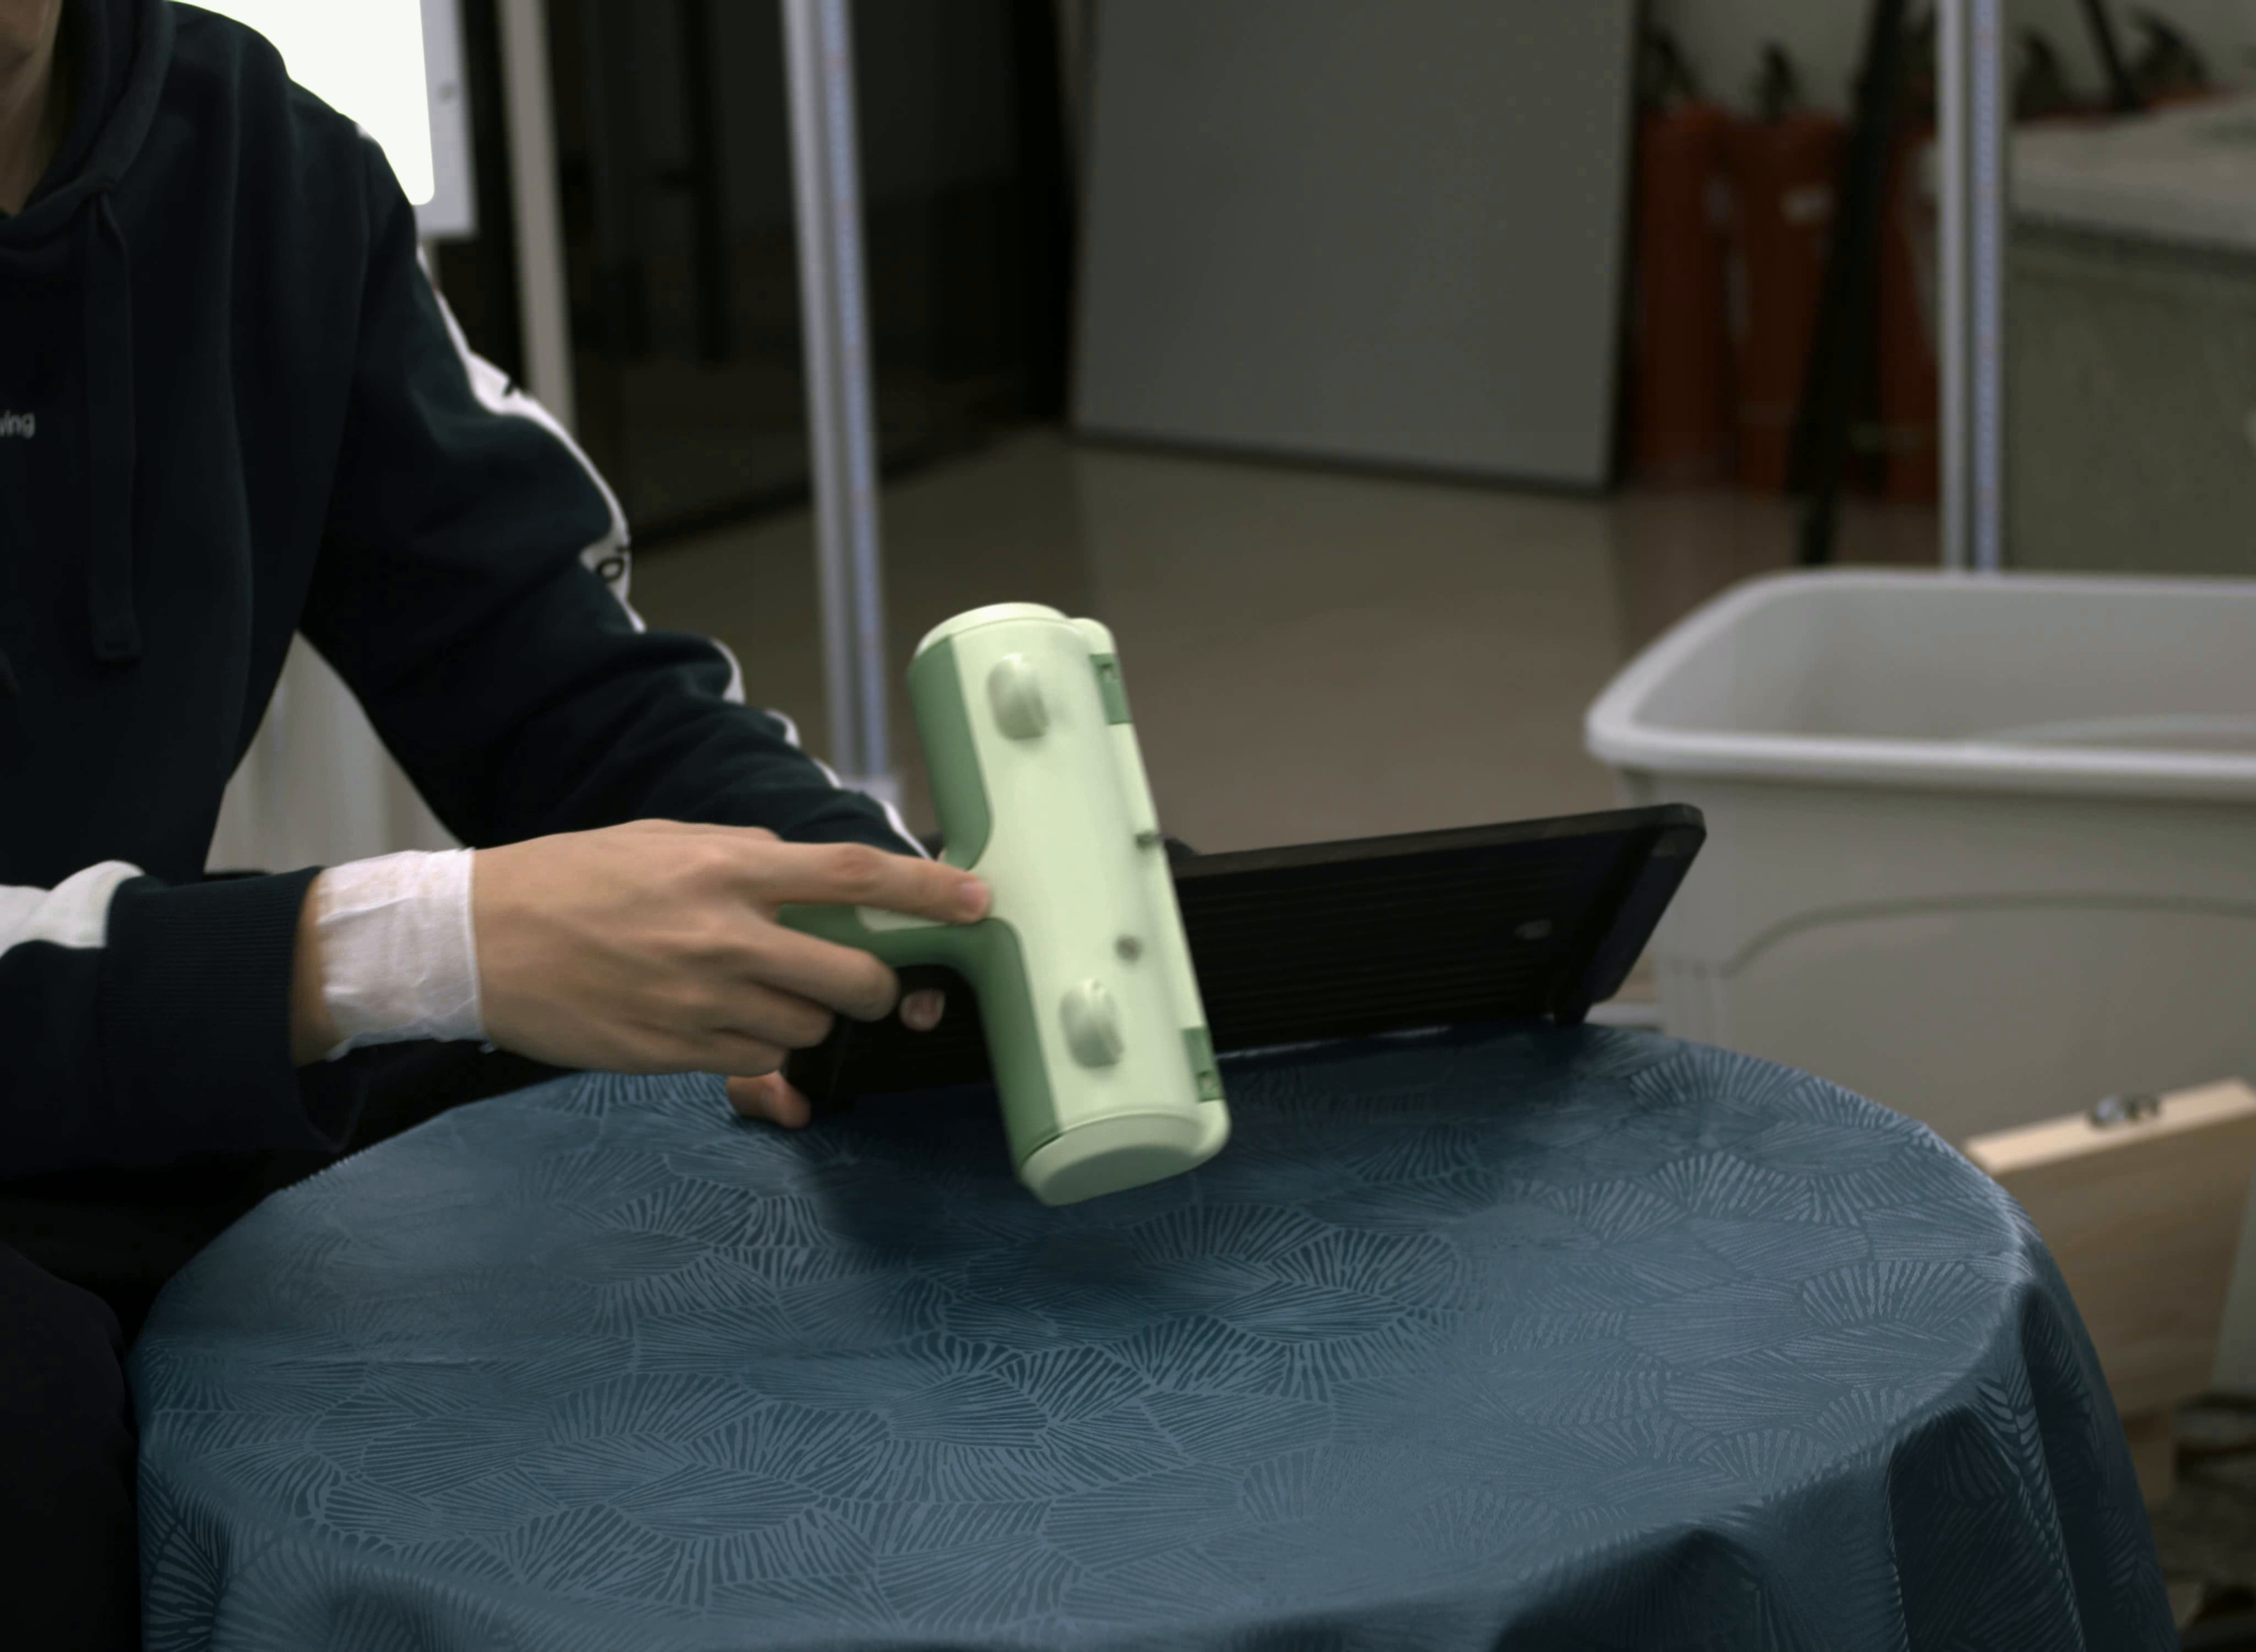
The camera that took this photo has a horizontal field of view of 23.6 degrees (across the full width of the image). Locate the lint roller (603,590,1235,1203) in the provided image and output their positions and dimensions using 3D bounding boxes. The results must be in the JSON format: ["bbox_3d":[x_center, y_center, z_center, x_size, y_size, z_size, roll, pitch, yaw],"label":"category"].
[{"bbox_3d":[-0.070,0.020,1.690,0.179,0.201,0.083,-3,-28,-19],"label":"lint roller"}]

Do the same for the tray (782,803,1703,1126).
[{"bbox_3d":[0.037,0.050,1.833,0.300,0.019,0.171,-7,-24,-10],"label":"tray"}]
